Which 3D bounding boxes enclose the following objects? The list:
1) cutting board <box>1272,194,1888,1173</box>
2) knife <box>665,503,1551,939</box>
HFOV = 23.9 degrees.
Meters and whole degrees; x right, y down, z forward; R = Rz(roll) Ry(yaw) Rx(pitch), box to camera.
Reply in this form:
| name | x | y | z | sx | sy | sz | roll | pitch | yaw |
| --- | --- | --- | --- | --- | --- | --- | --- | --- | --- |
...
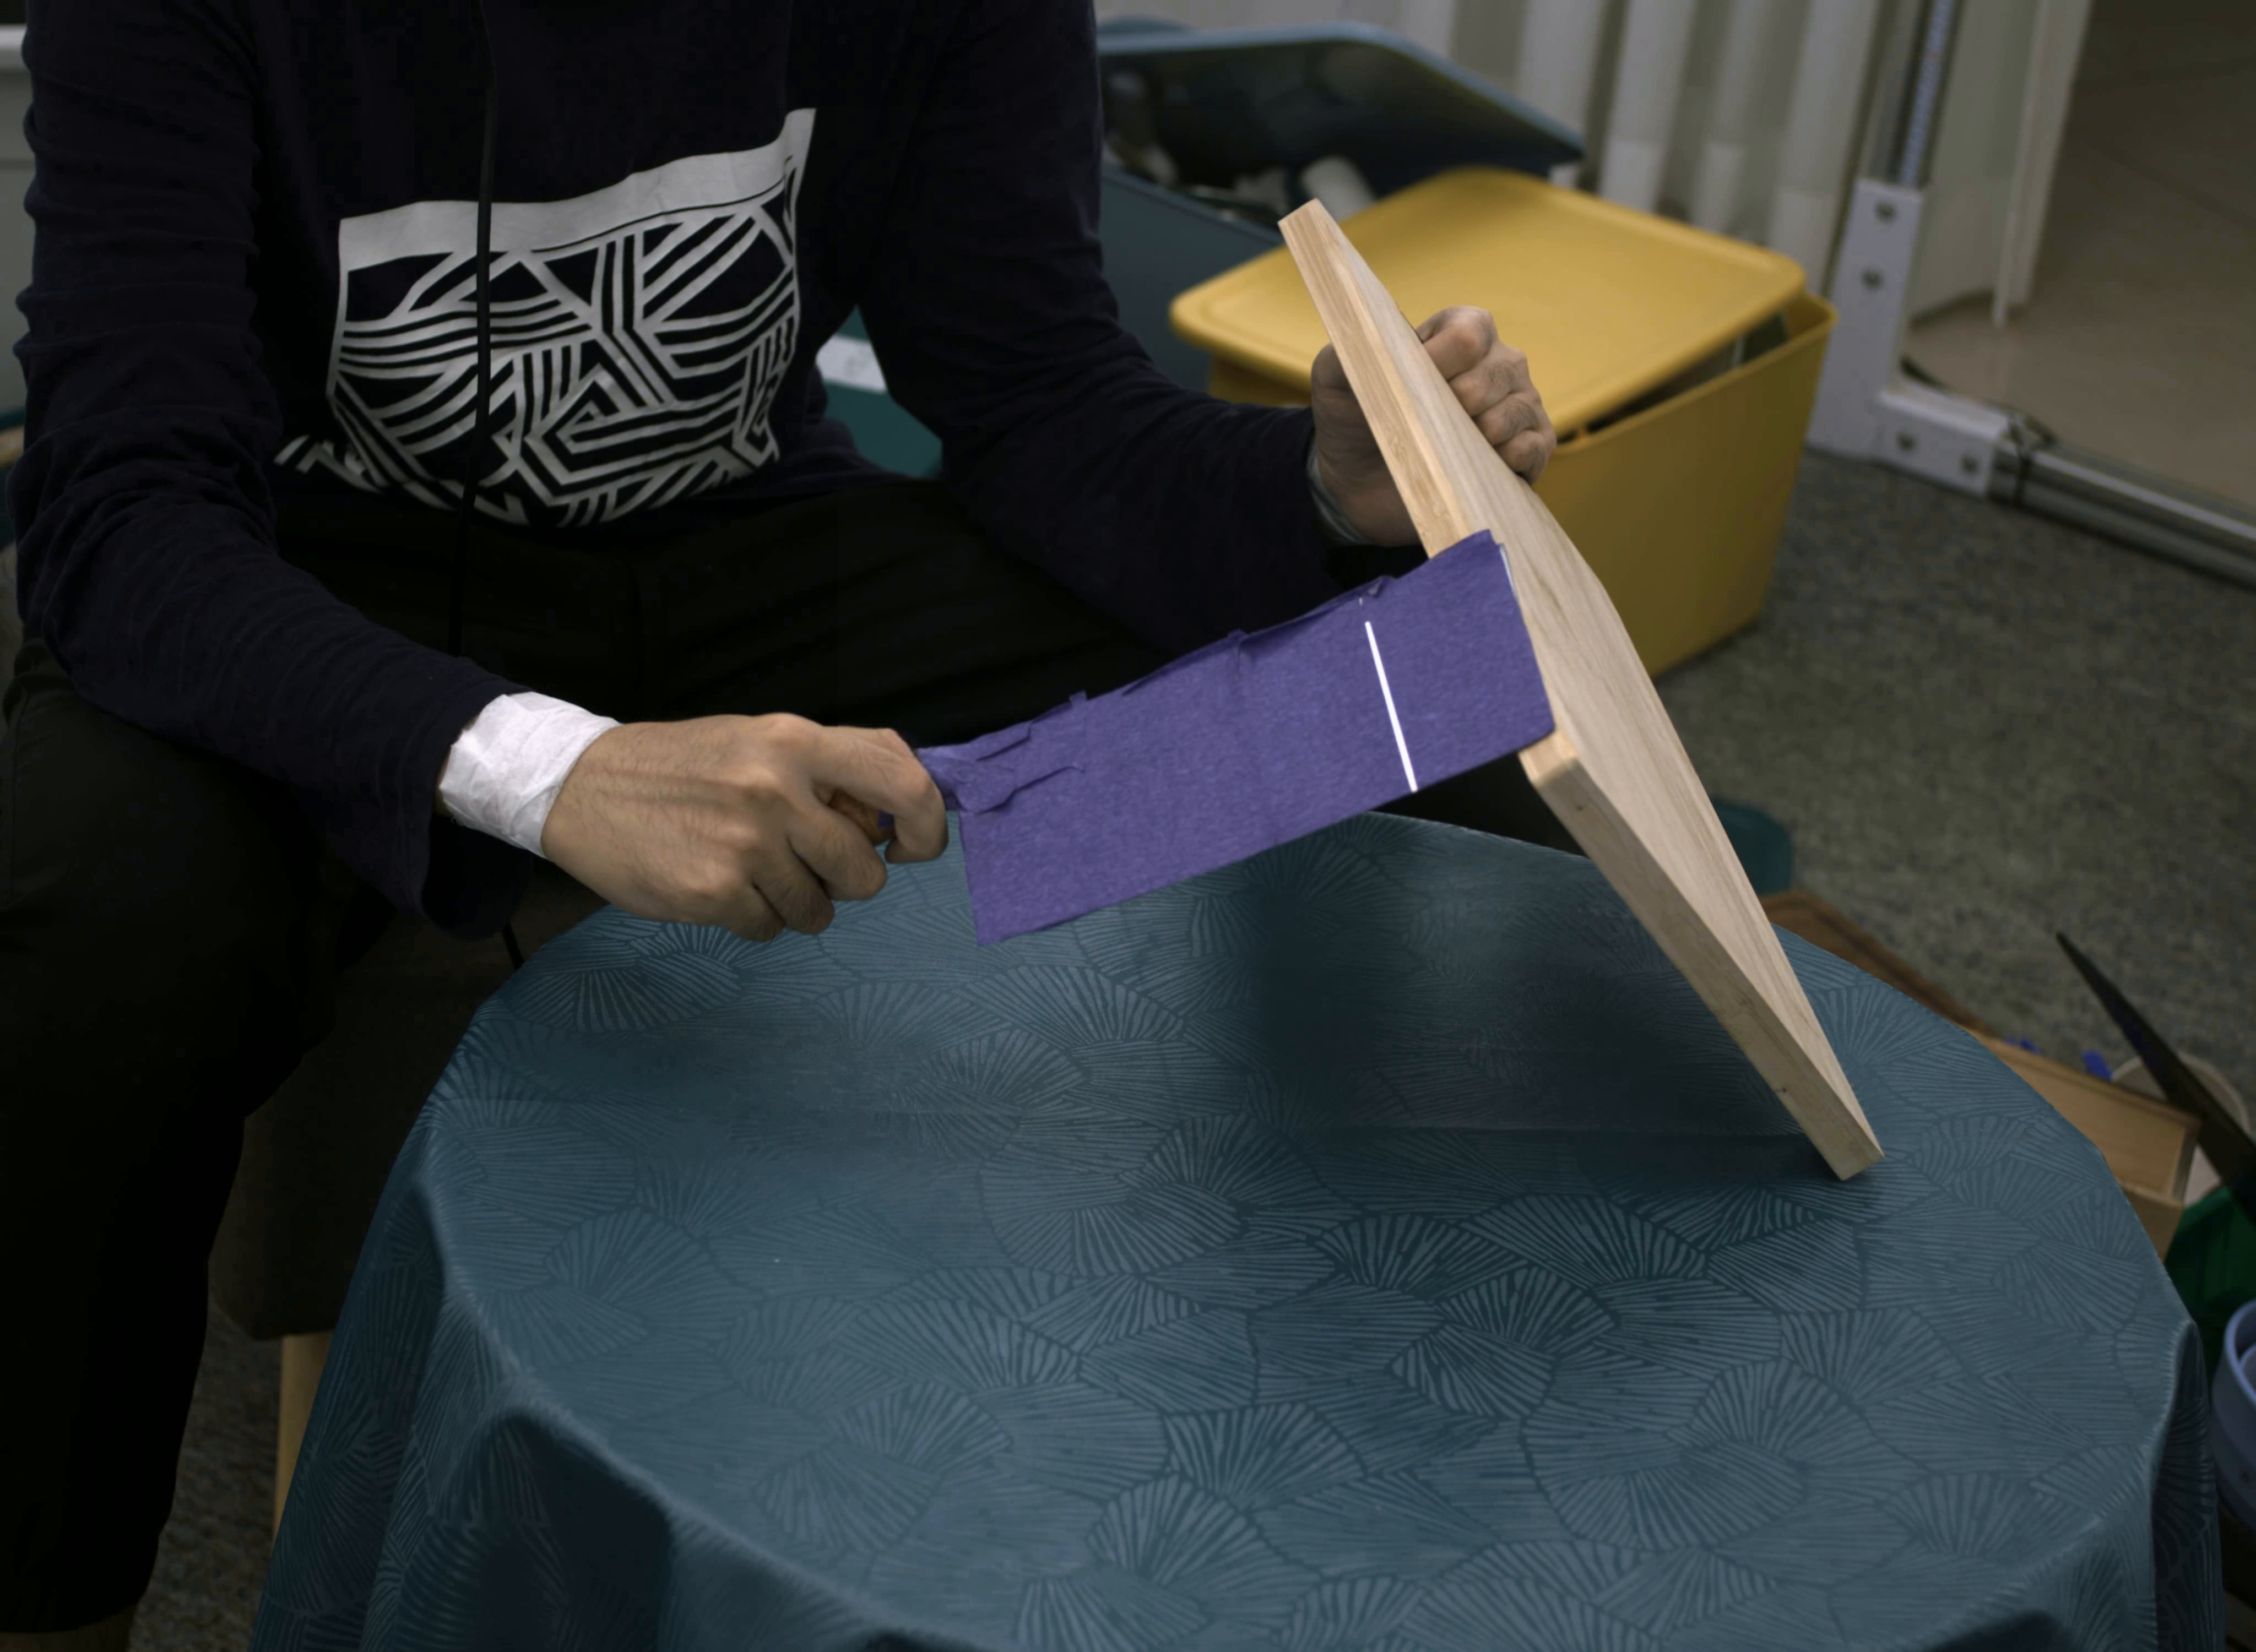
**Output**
| name | x | y | z | sx | sy | sz | roll | pitch | yaw |
| --- | --- | --- | --- | --- | --- | --- | --- | --- | --- |
| cutting board | 0.158 | -0.056 | 1.919 | 0.023 | 0.248 | 0.352 | -32 | 40 | 10 |
| knife | -0.010 | -0.015 | 1.784 | 0.315 | 0.032 | 0.105 | -23 | 46 | 14 |
